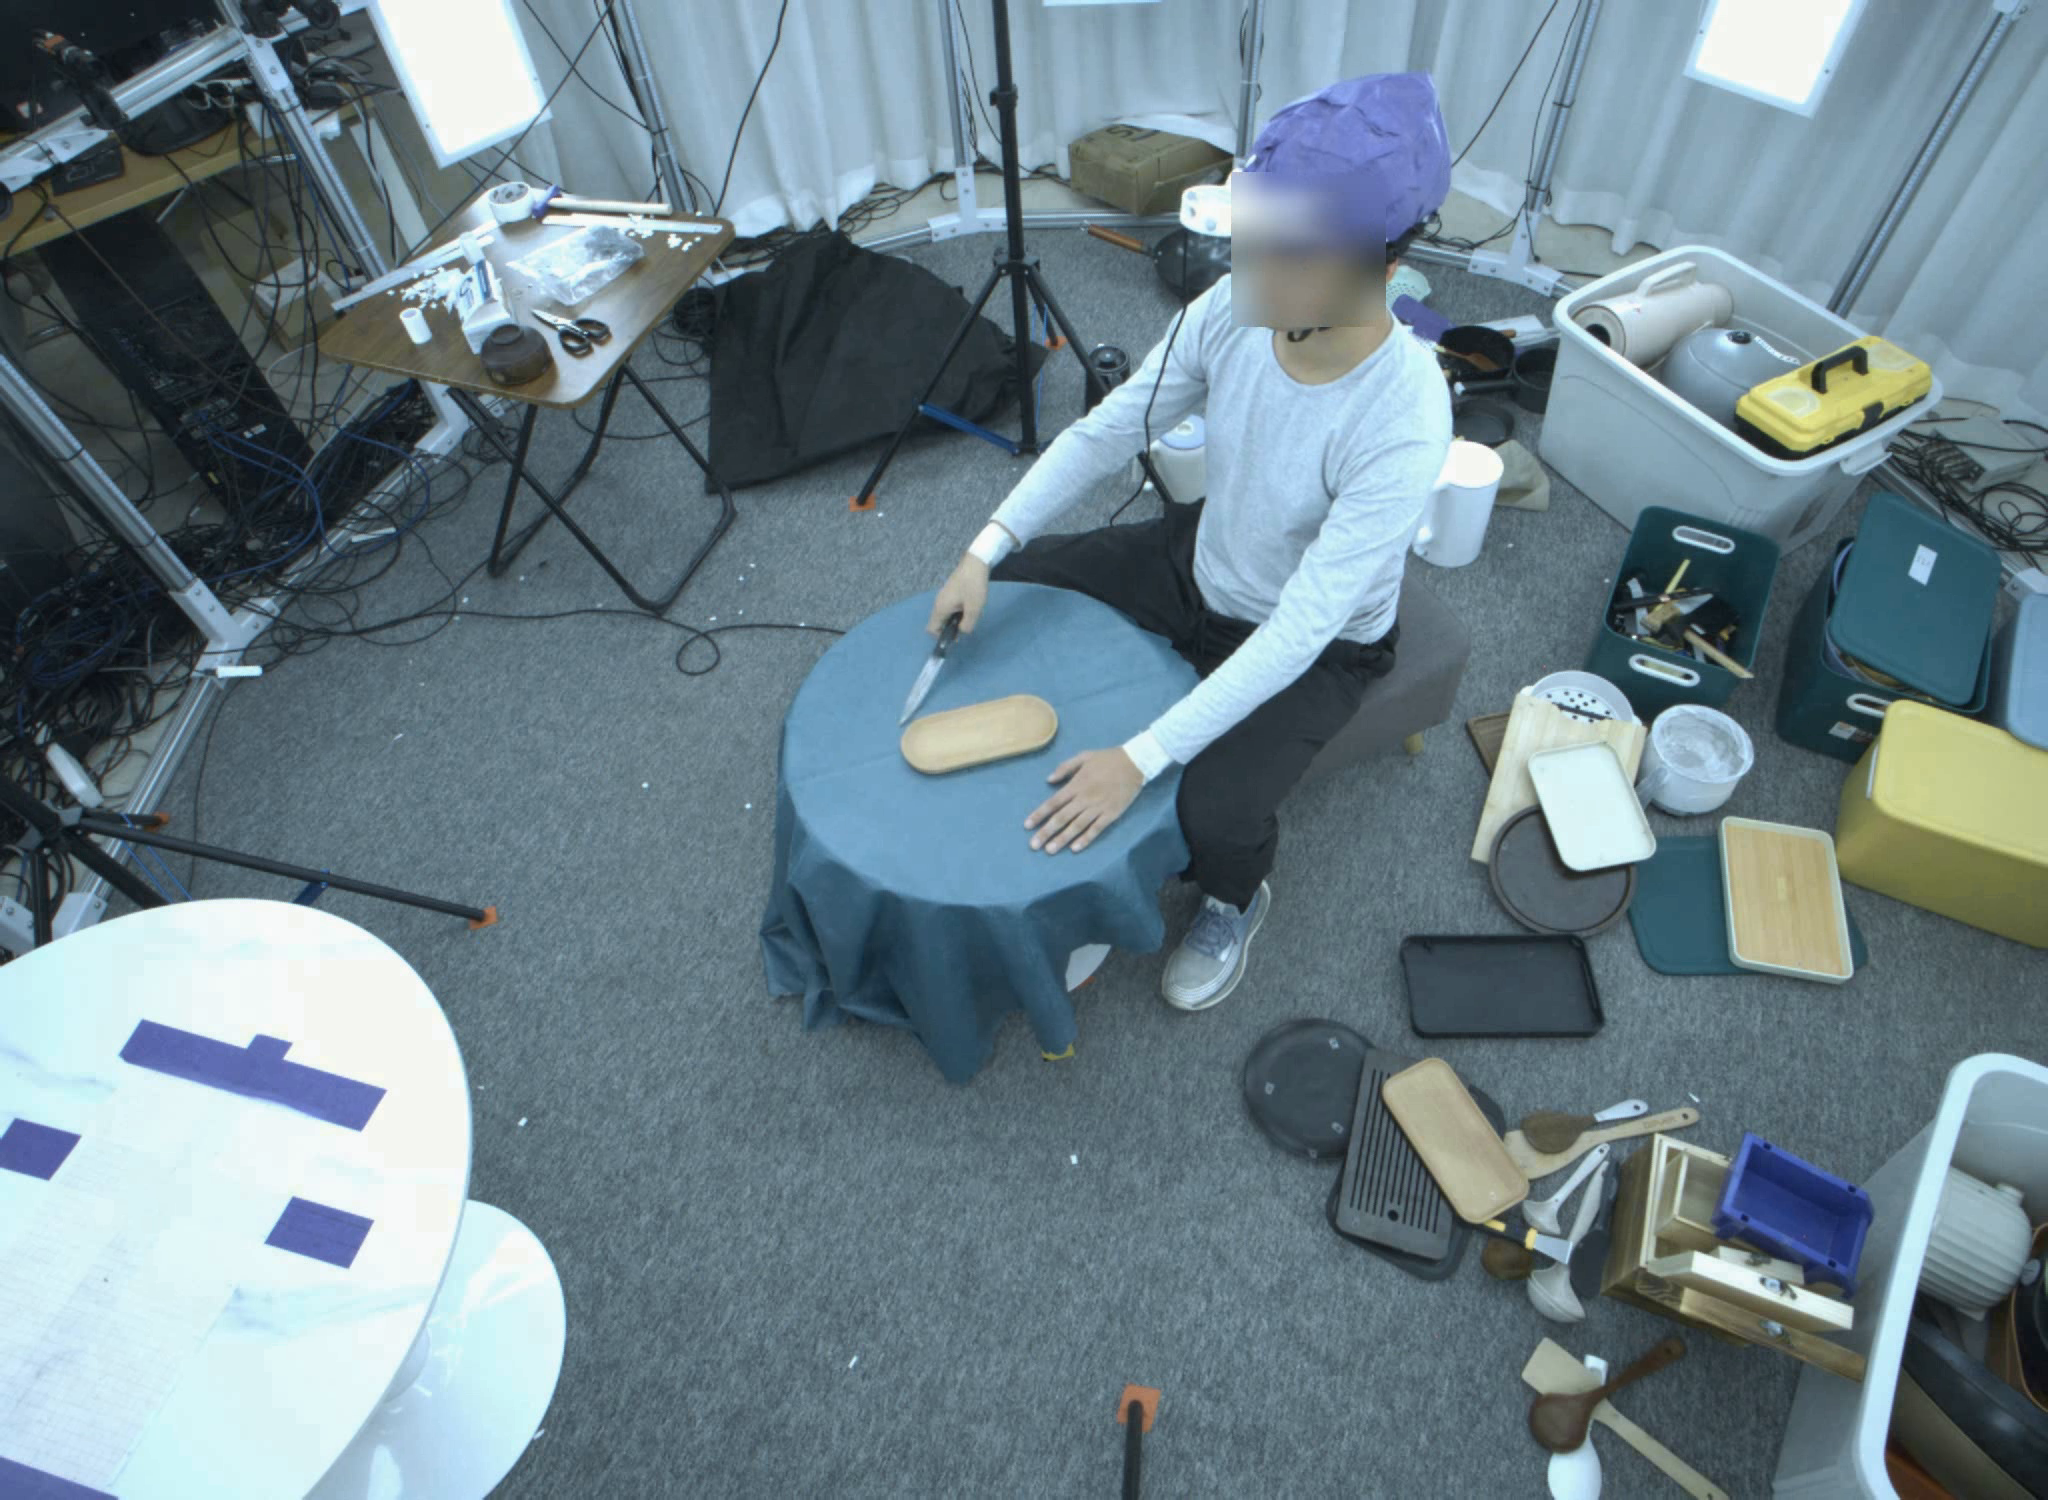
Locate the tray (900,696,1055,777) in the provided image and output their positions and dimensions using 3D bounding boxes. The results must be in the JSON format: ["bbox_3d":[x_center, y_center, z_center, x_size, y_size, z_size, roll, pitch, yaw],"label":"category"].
[{"bbox_3d":[-0.068,-0.020,1.802,0.232,0.020,0.100,-15,54,-8],"label":"tray"}]

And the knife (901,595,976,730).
[{"bbox_3d":[-0.134,-0.135,1.851,0.025,0.016,0.238,32,75,-20],"label":"knife"}]
